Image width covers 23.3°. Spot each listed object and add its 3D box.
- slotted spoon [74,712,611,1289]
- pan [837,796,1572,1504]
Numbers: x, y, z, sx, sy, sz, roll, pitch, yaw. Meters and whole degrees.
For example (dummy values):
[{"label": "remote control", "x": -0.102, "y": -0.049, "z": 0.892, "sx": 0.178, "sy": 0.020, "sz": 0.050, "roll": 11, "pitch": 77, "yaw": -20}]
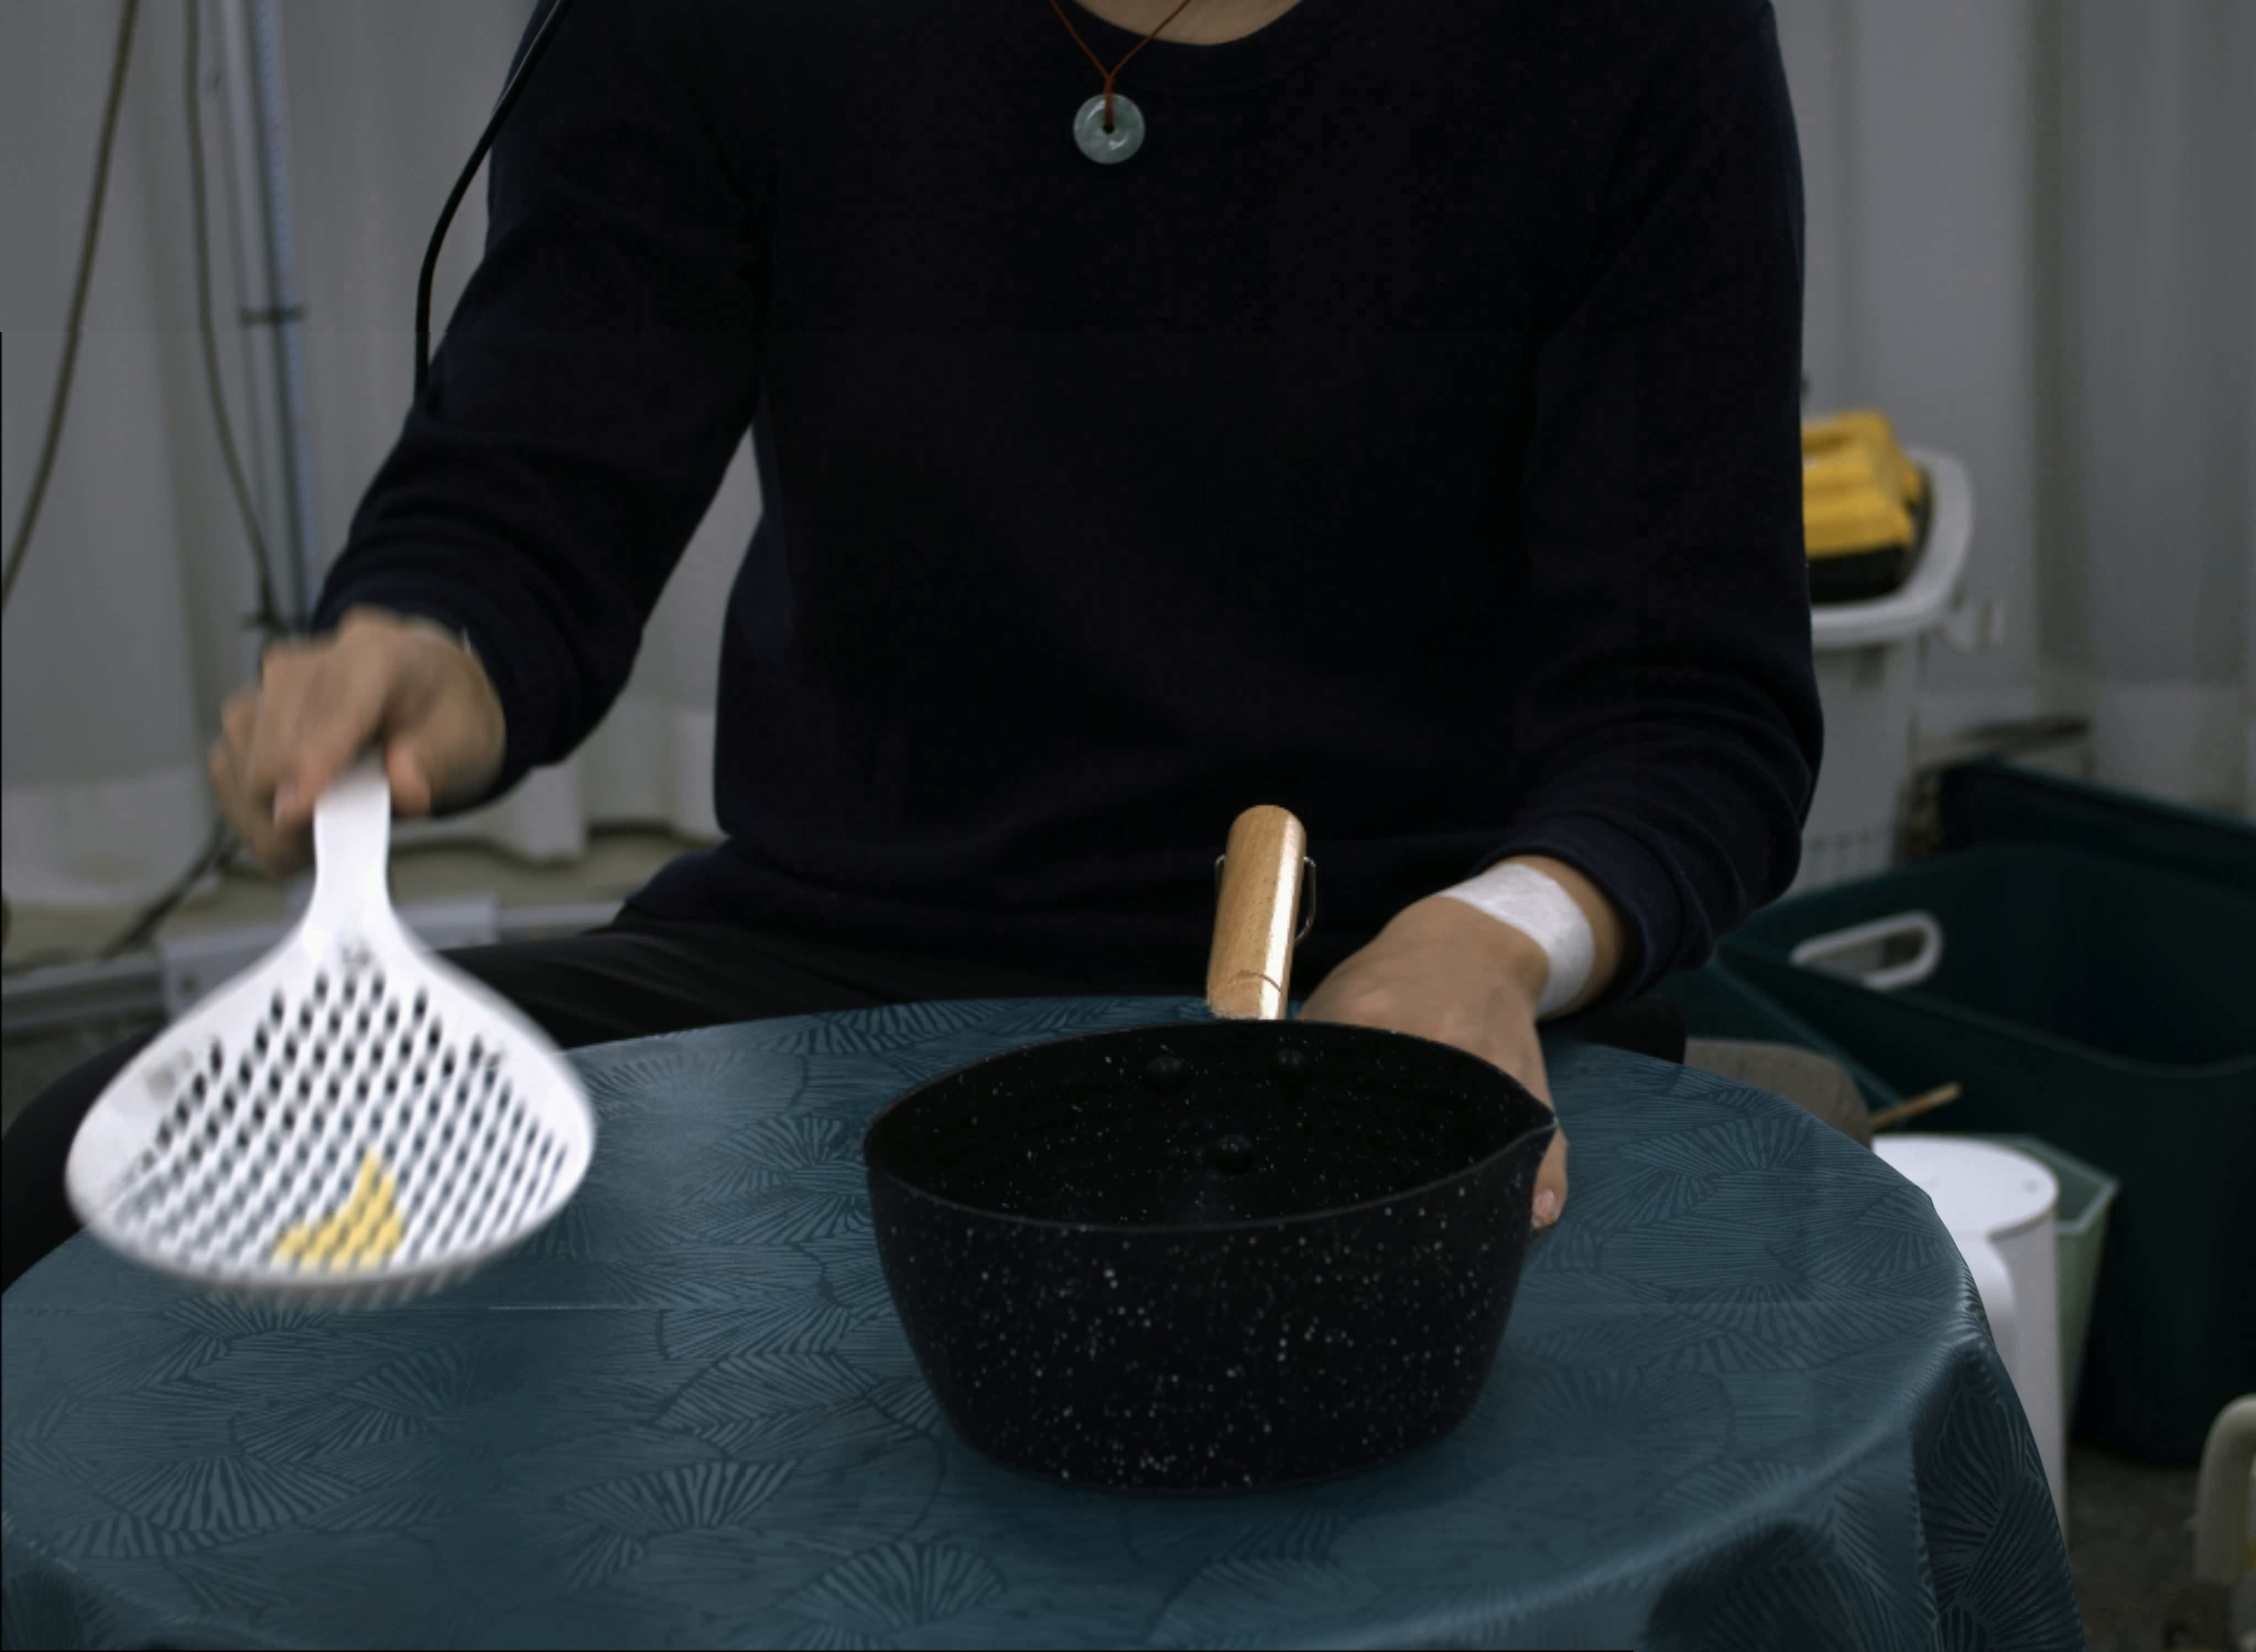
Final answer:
[{"label": "slotted spoon", "x": -0.216, "y": 0.035, "z": 1.507, "sx": 0.136, "sy": 0.050, "sz": 0.353, "roll": -5, "pitch": 31, "yaw": -6}, {"label": "pan", "x": 0.028, "y": 0.089, "z": 1.599, "sx": 0.207, "sy": 0.108, "sz": 0.345, "roll": -3, "pitch": 16, "yaw": 6}]
